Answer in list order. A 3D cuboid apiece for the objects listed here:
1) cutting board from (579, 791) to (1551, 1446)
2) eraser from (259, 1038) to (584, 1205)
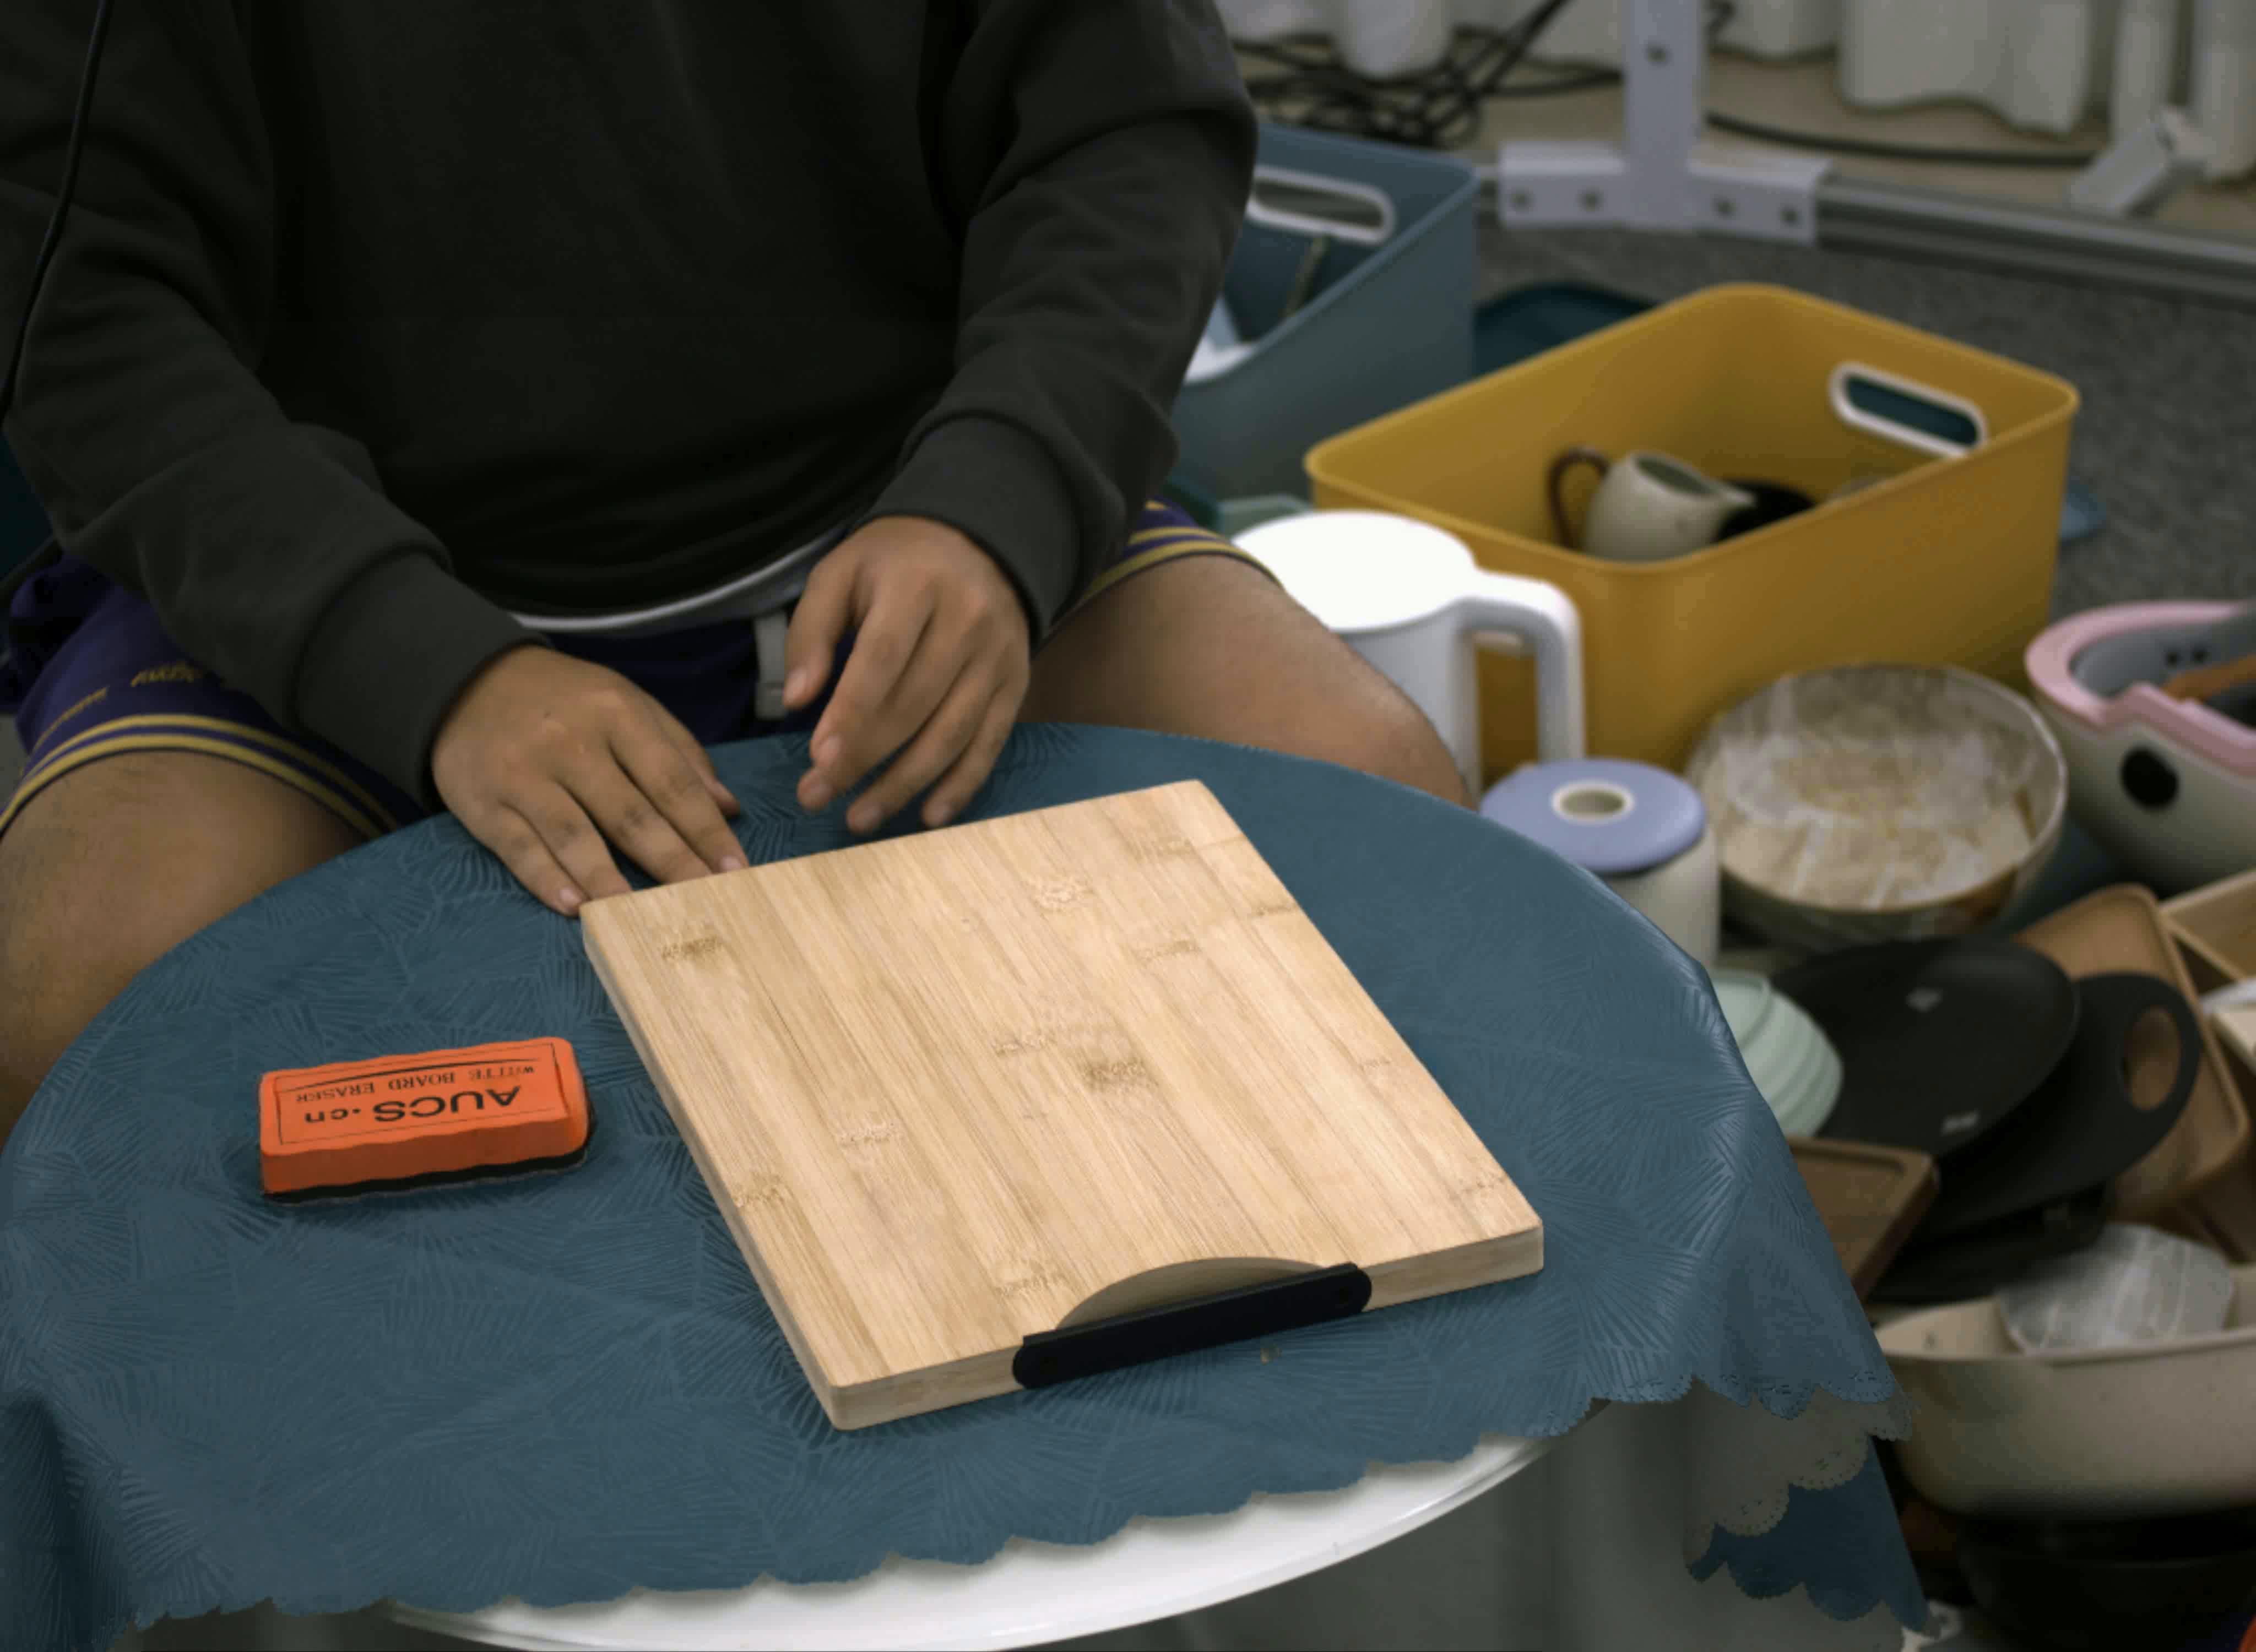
[{"bbox_3d":[-0.031,0.089,1.910,0.251,0.023,0.351,-12,29,-16],"label":"cutting board"},{"bbox_3d":[-0.239,0.100,1.900,0.108,0.022,0.060,-6,28,-7],"label":"eraser"}]
